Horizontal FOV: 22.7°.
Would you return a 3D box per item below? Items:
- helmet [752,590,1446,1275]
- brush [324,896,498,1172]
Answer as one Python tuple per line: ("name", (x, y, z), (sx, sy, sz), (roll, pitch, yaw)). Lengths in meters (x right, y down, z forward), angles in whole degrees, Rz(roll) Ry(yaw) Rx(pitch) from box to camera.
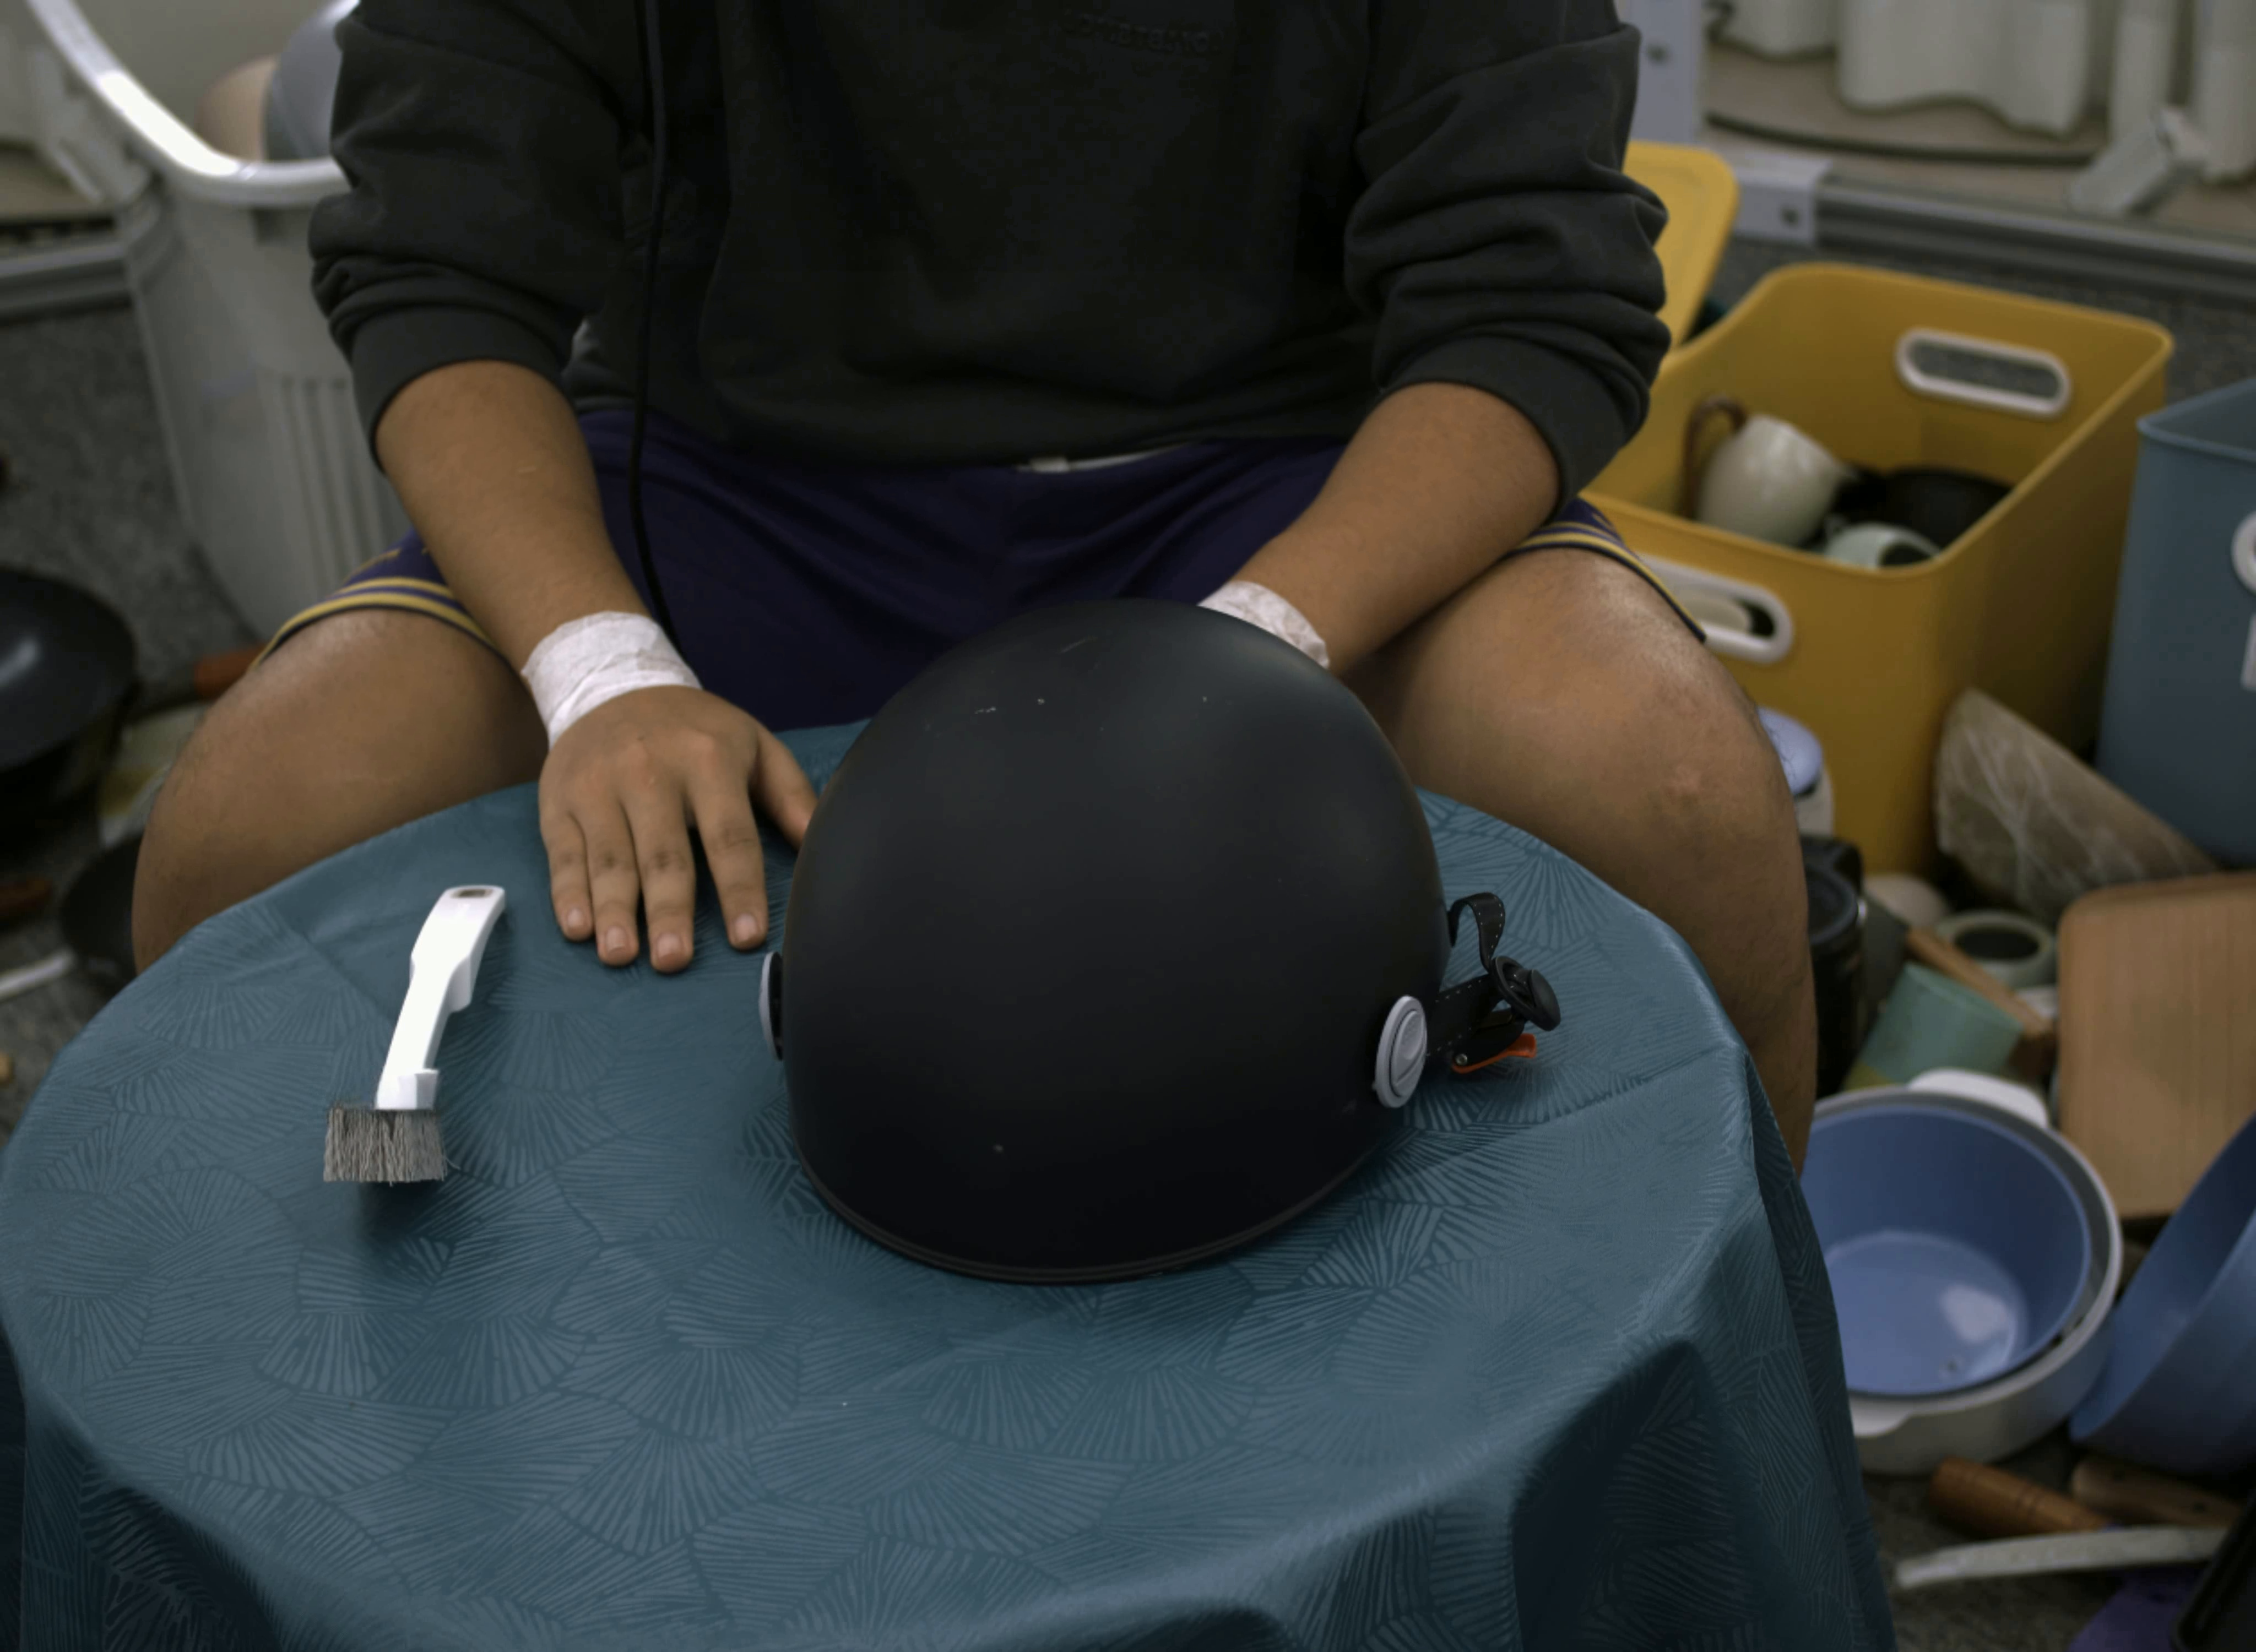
("helmet", (-0.010, 0.017, 1.896), (0.228, 0.165, 0.278), (4, 30, 17))
("brush", (-0.244, 0.076, 1.951), (0.034, 0.050, 0.246), (-2, 14, 2))
